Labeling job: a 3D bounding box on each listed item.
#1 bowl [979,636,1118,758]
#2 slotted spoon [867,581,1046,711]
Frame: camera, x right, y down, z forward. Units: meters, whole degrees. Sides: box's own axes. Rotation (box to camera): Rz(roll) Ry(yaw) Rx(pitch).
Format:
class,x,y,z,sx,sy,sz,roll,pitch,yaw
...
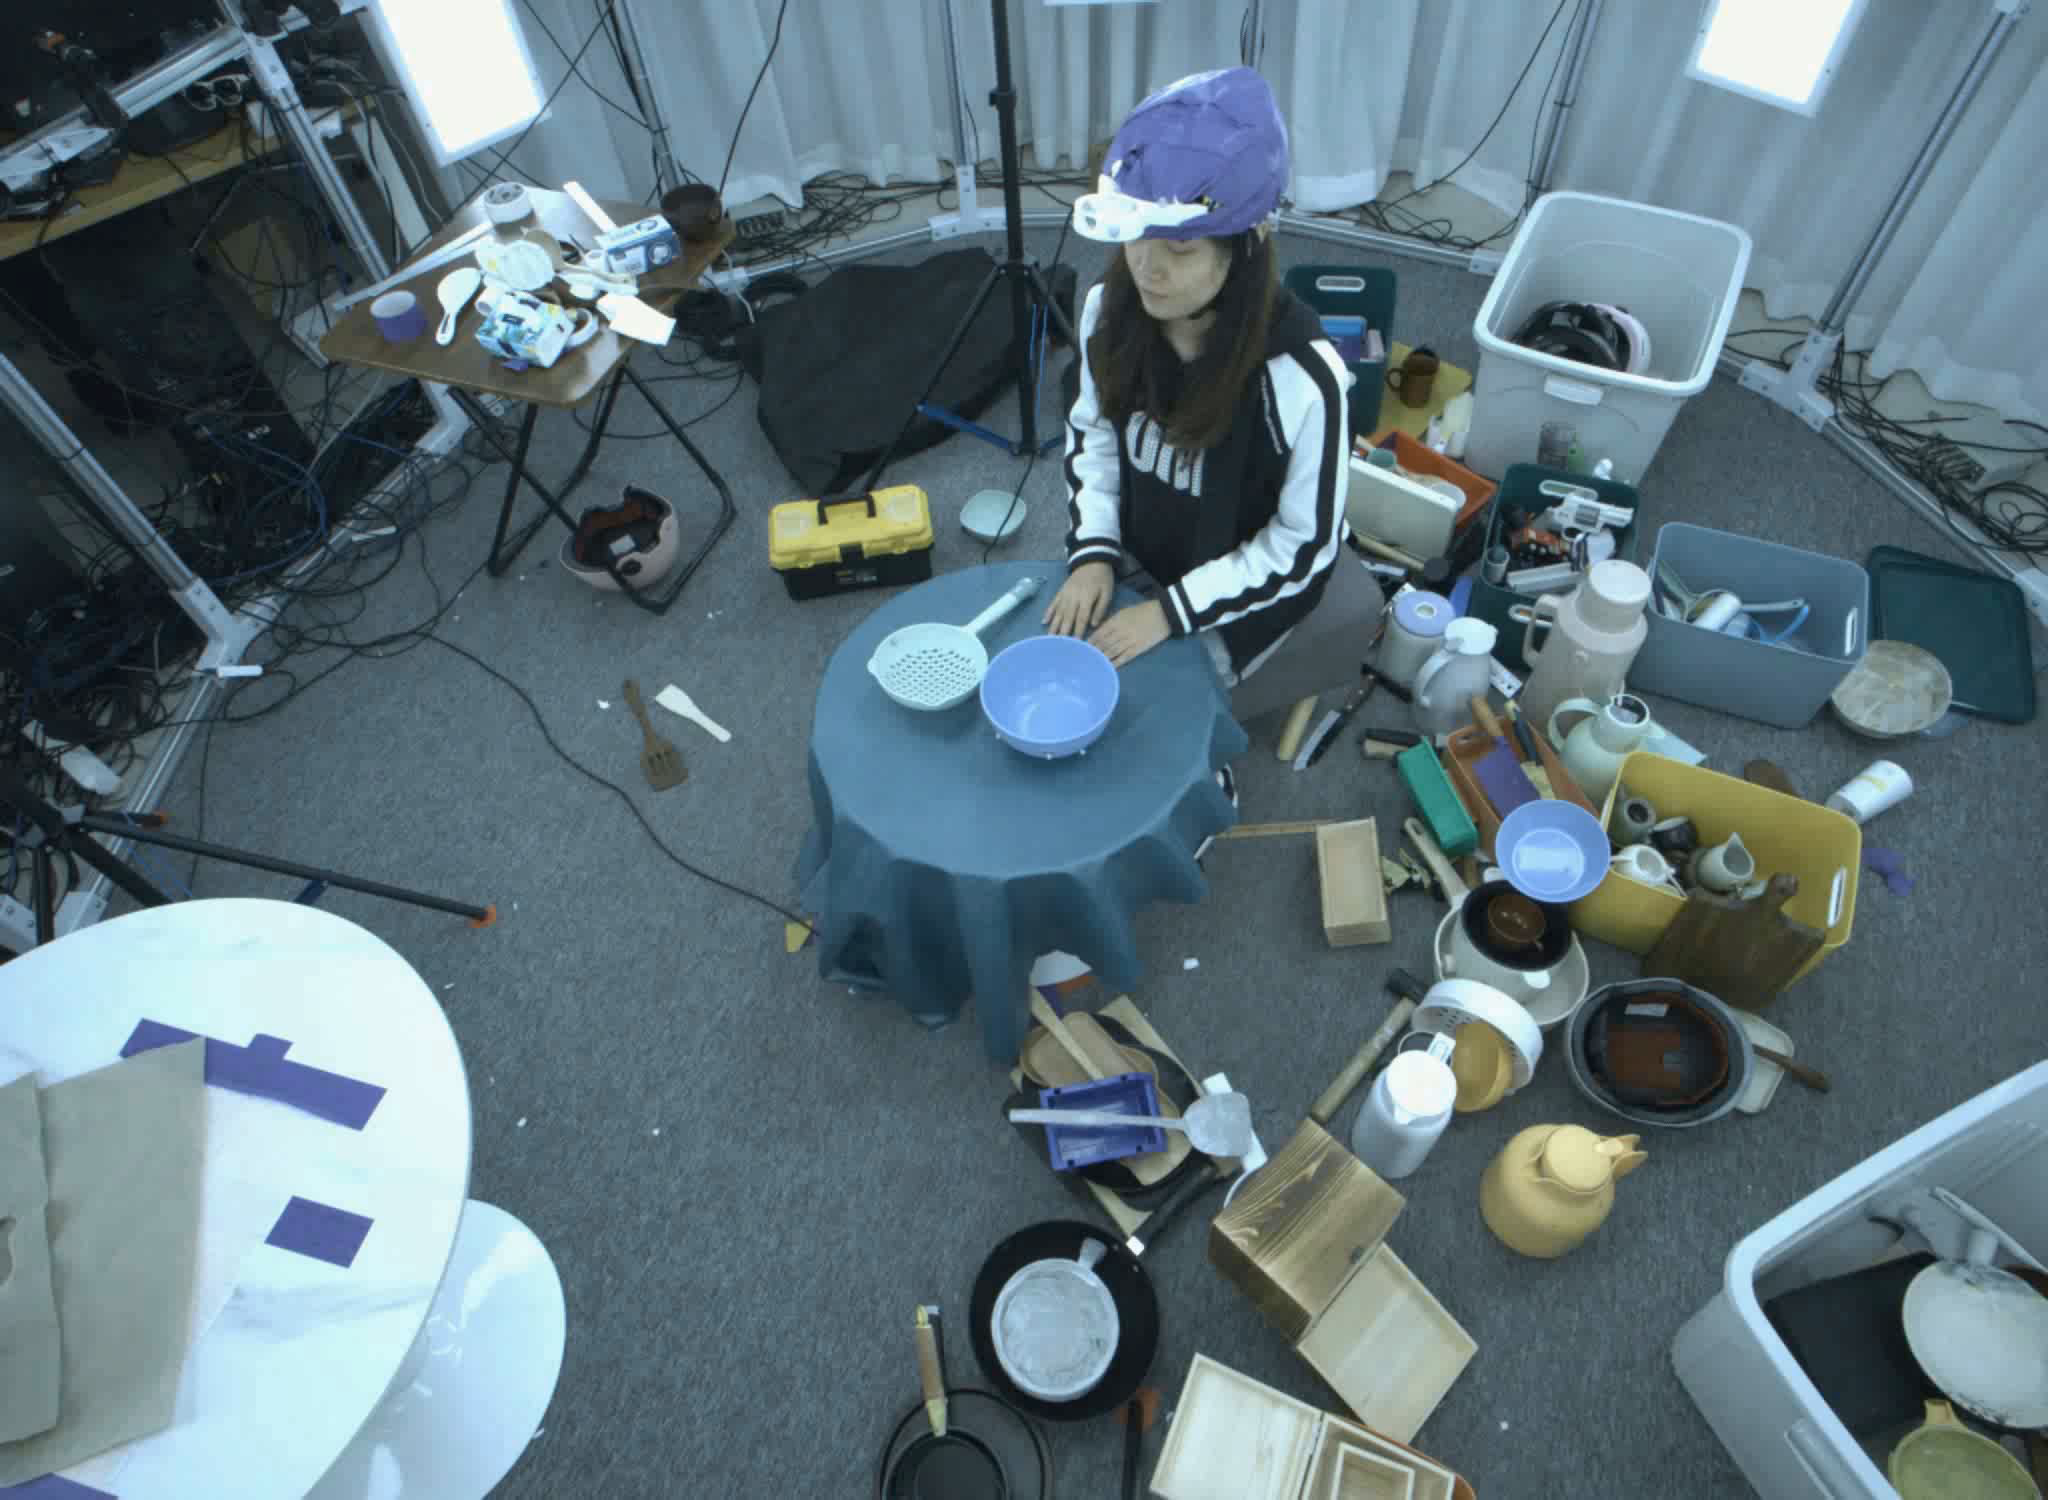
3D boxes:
class,x,y,z,sx,sy,sz,roll,pitch,yaw
bowl,0.037,-0.061,1.773,0.196,0.096,0.194,-1,54,2
slotted spoon,-0.080,-0.176,1.880,0.167,0.076,0.361,31,60,21
